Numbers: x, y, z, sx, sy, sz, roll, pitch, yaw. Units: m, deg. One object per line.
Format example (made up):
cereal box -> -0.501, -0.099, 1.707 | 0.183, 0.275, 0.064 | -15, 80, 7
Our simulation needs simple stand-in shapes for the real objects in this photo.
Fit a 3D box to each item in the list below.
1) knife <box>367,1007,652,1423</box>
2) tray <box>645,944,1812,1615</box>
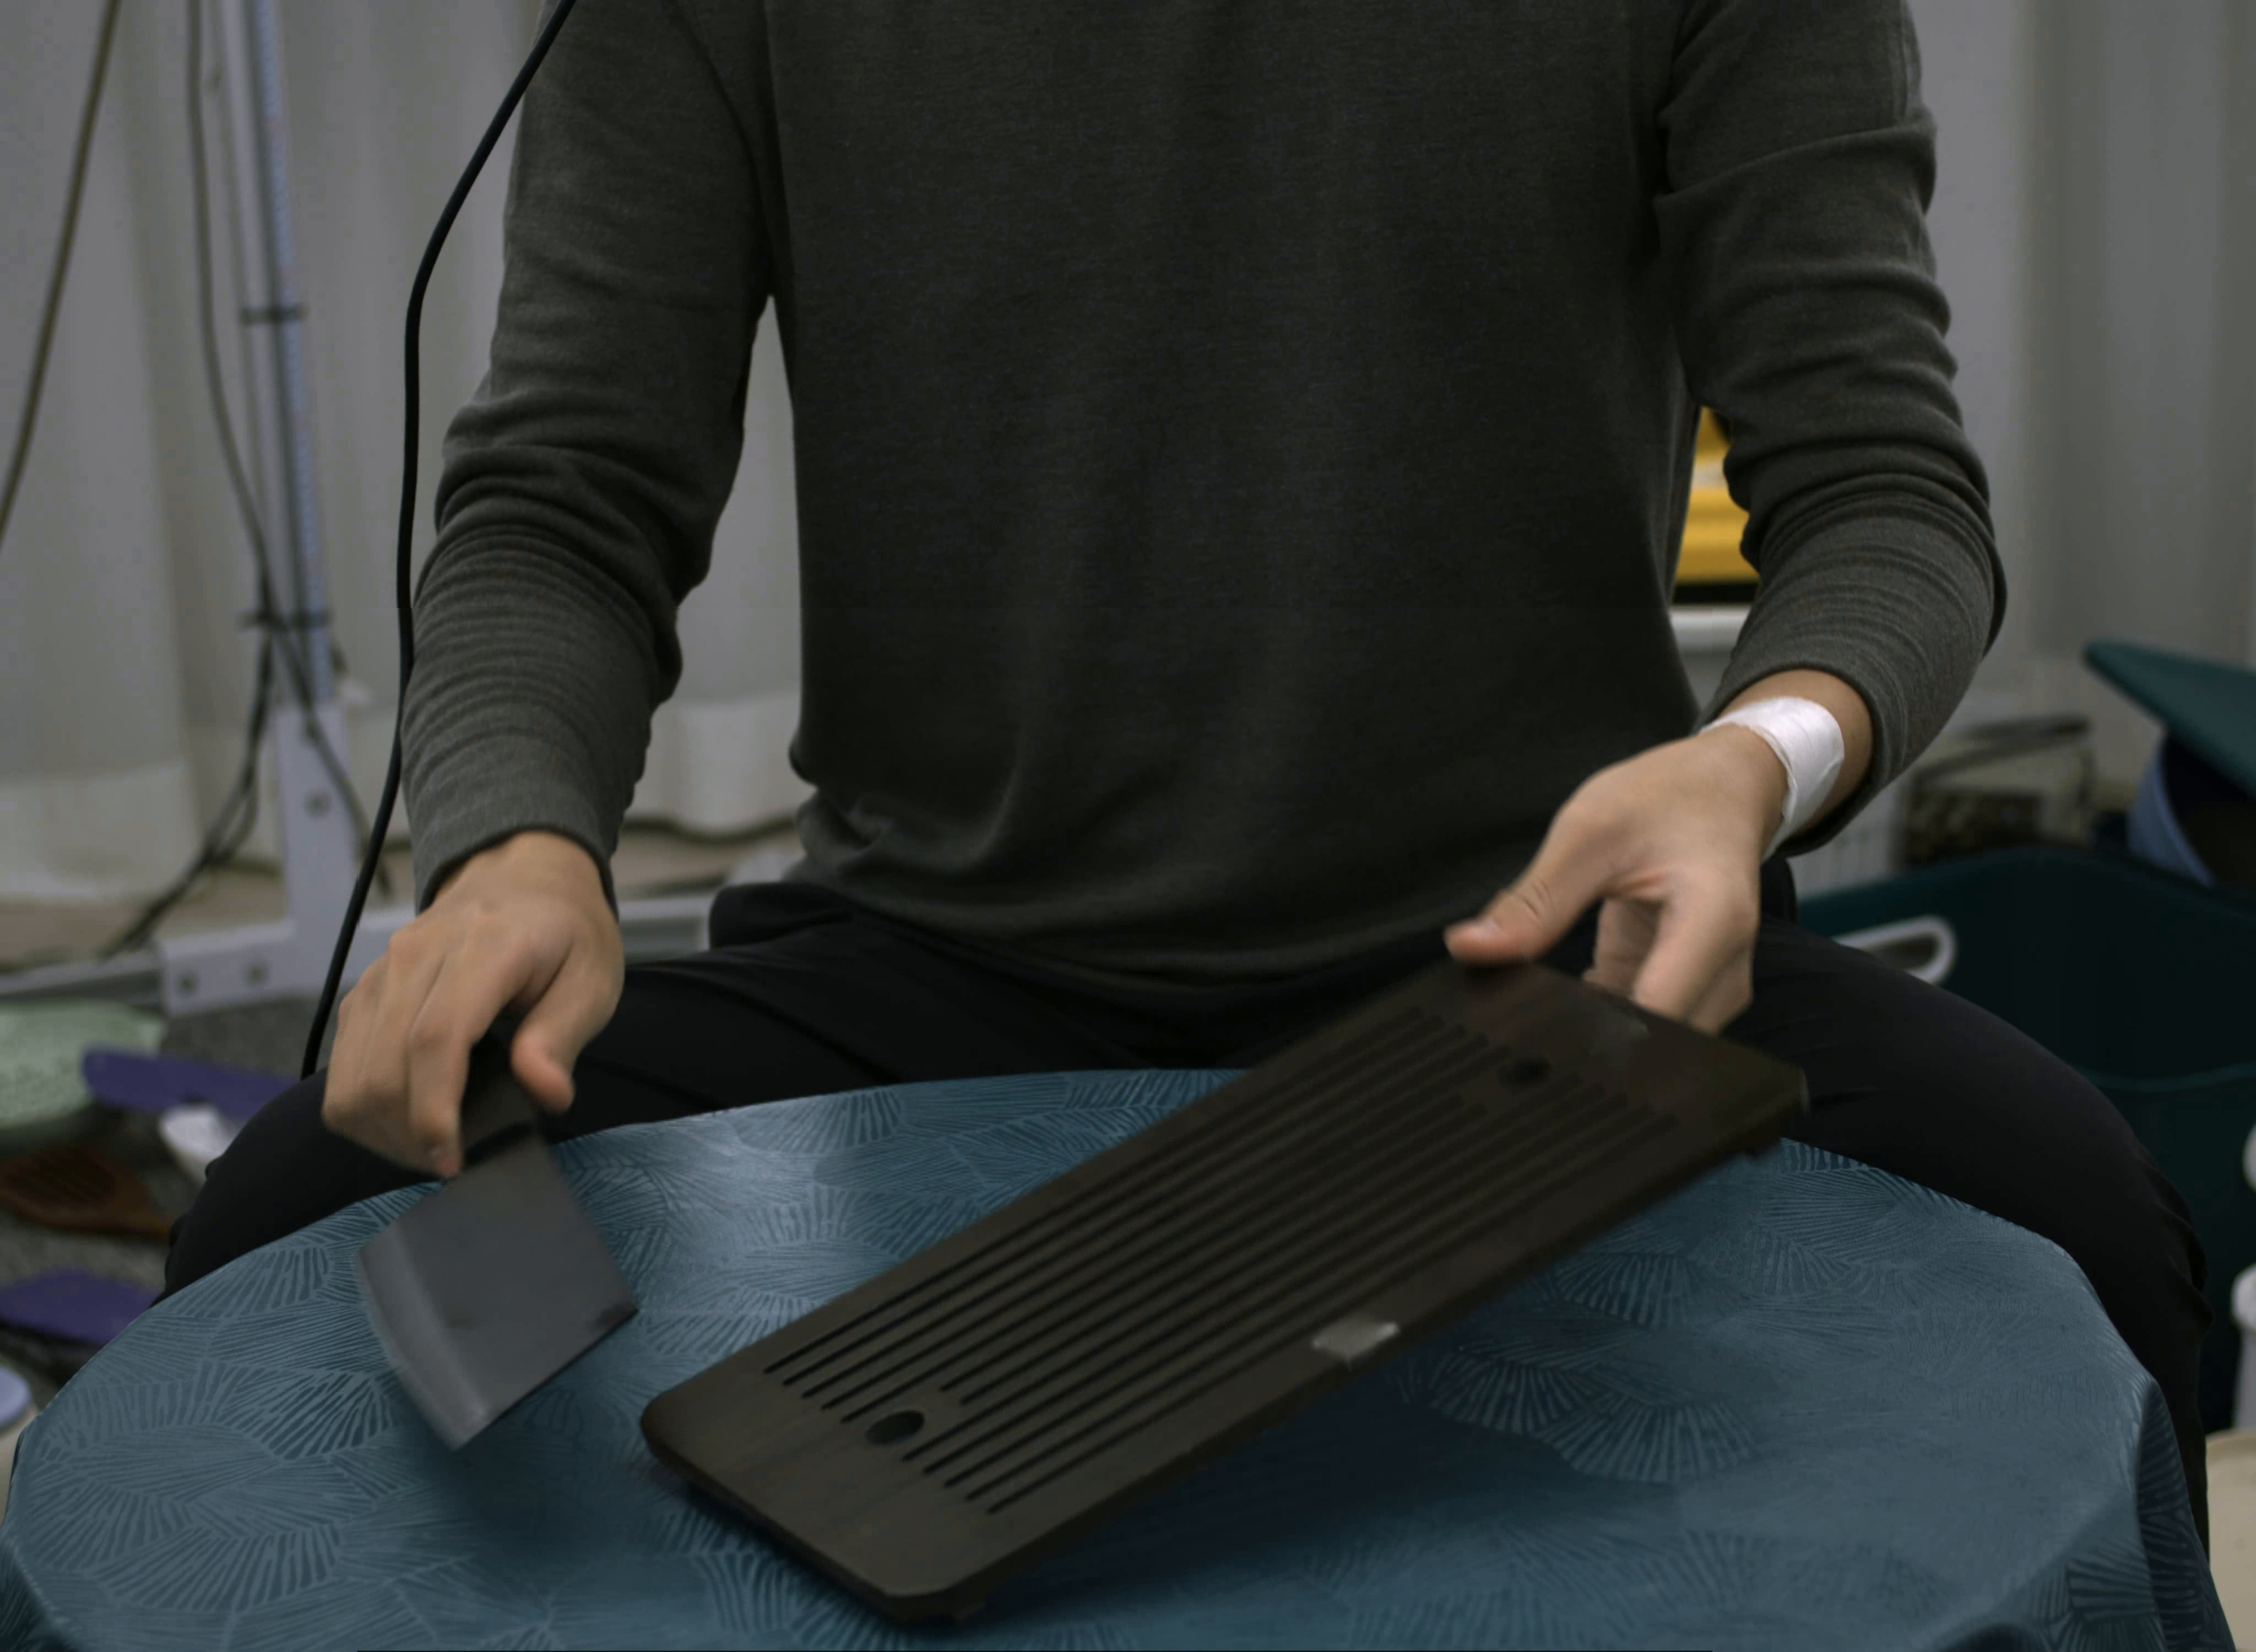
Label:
knife -> -0.187, 0.107, 1.576 | 0.081, 0.020, 0.305 | -37, 19, -1
tray -> 0.029, 0.121, 1.503 | 0.306, 0.018, 0.171 | -28, 24, -24
